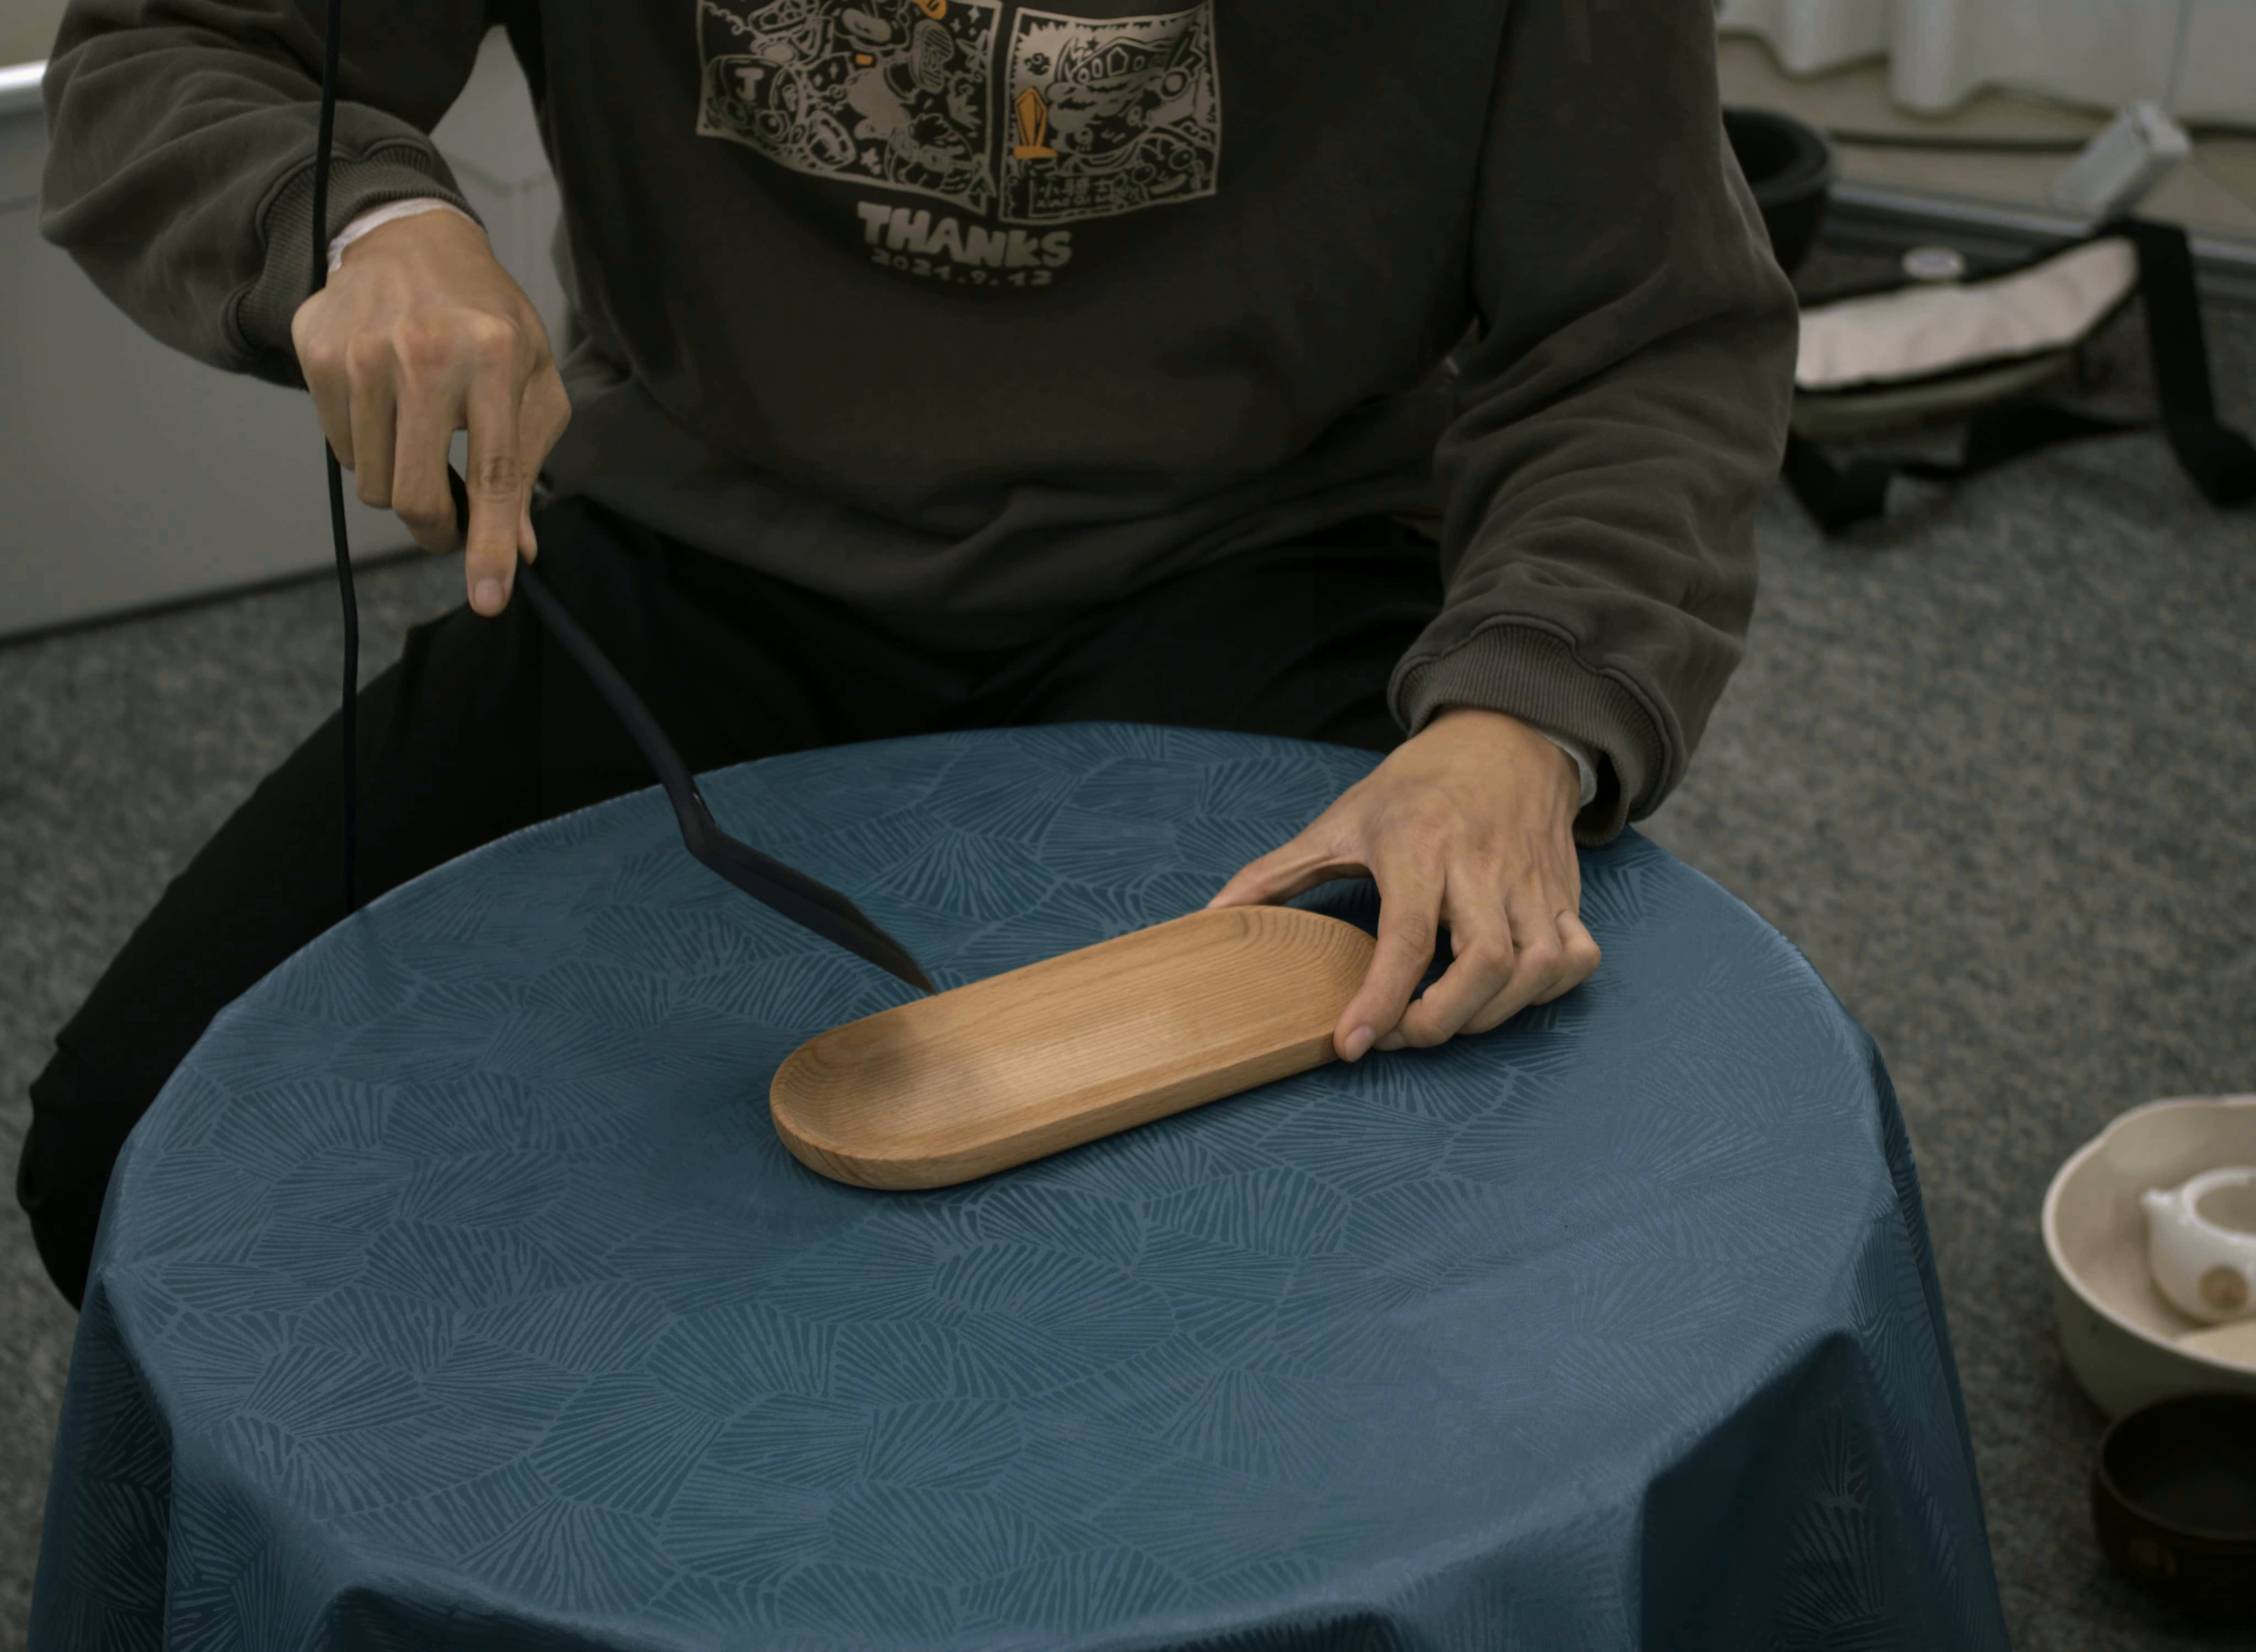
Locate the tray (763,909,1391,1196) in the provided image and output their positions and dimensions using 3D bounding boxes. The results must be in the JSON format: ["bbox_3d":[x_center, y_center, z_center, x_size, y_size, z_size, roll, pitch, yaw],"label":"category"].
[{"bbox_3d":[-0.016,0.077,1.930,0.232,0.020,0.102,-18,30,-24],"label":"tray"}]

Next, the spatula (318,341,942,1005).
[{"bbox_3d":[-0.178,-0.057,1.932,0.040,0.099,0.328,-38,70,-2],"label":"spatula"}]
